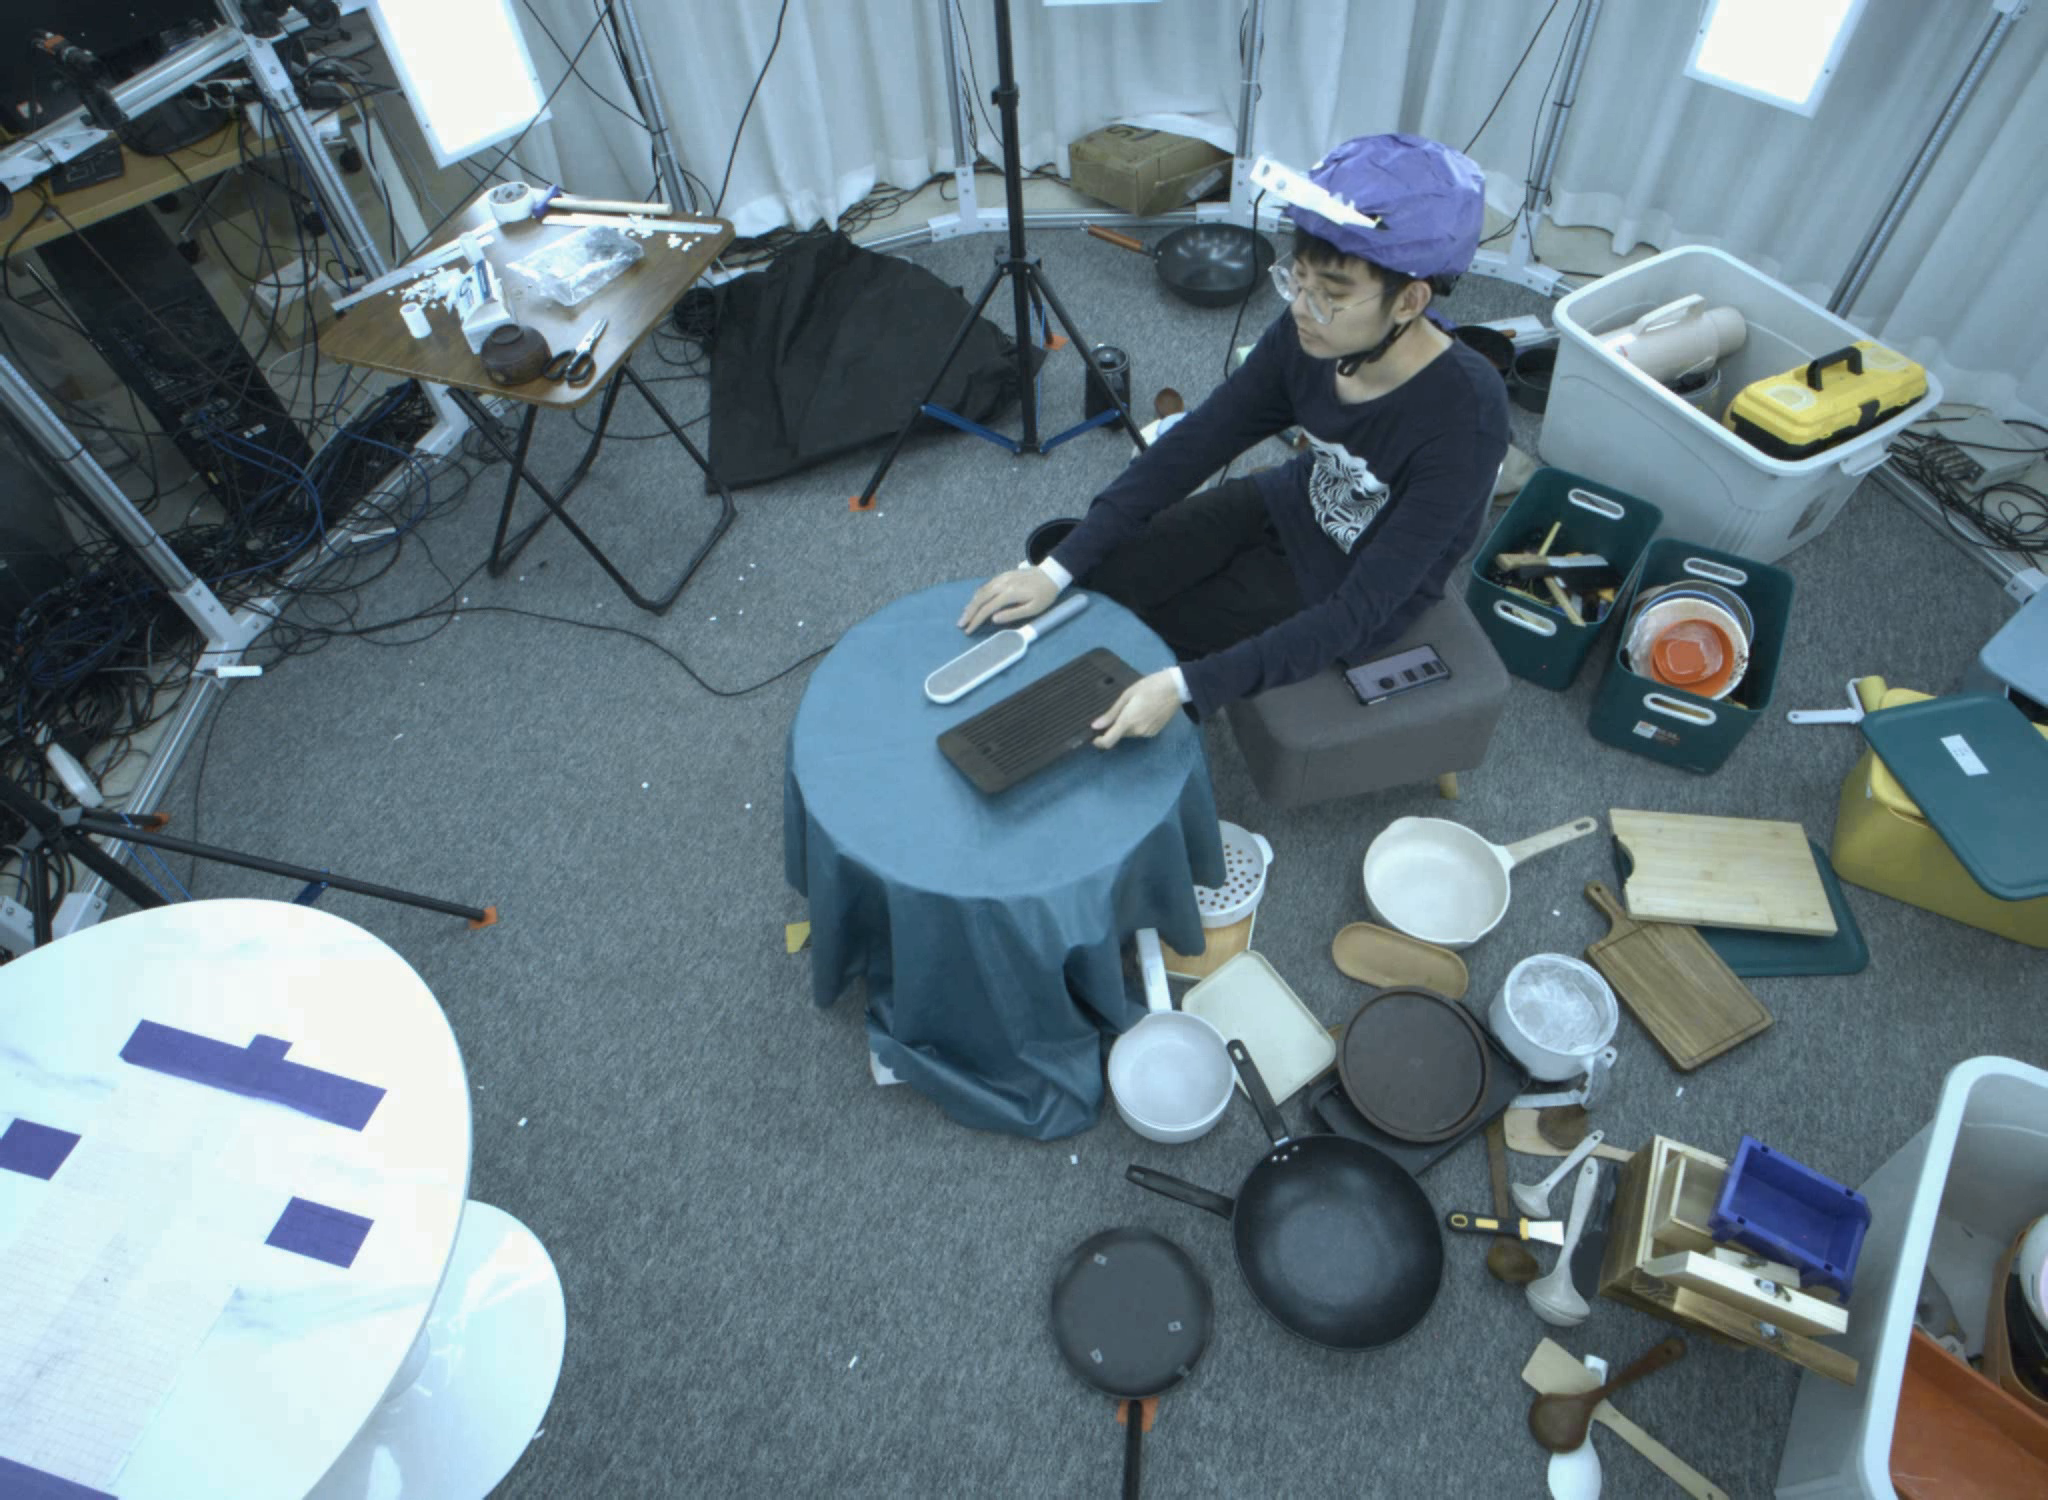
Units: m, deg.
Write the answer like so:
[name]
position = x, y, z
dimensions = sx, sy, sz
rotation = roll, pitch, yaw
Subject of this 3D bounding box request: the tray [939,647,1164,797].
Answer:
[tray]
position = 0.040, -0.044, 1.789
dimensions = 0.308, 0.019, 0.166
rotation = -30, 43, -19

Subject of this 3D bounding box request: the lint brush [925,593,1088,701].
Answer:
[lint brush]
position = -0.022, -0.163, 1.896
dimensions = 0.311, 0.021, 0.059
rotation = -34, 55, -21
